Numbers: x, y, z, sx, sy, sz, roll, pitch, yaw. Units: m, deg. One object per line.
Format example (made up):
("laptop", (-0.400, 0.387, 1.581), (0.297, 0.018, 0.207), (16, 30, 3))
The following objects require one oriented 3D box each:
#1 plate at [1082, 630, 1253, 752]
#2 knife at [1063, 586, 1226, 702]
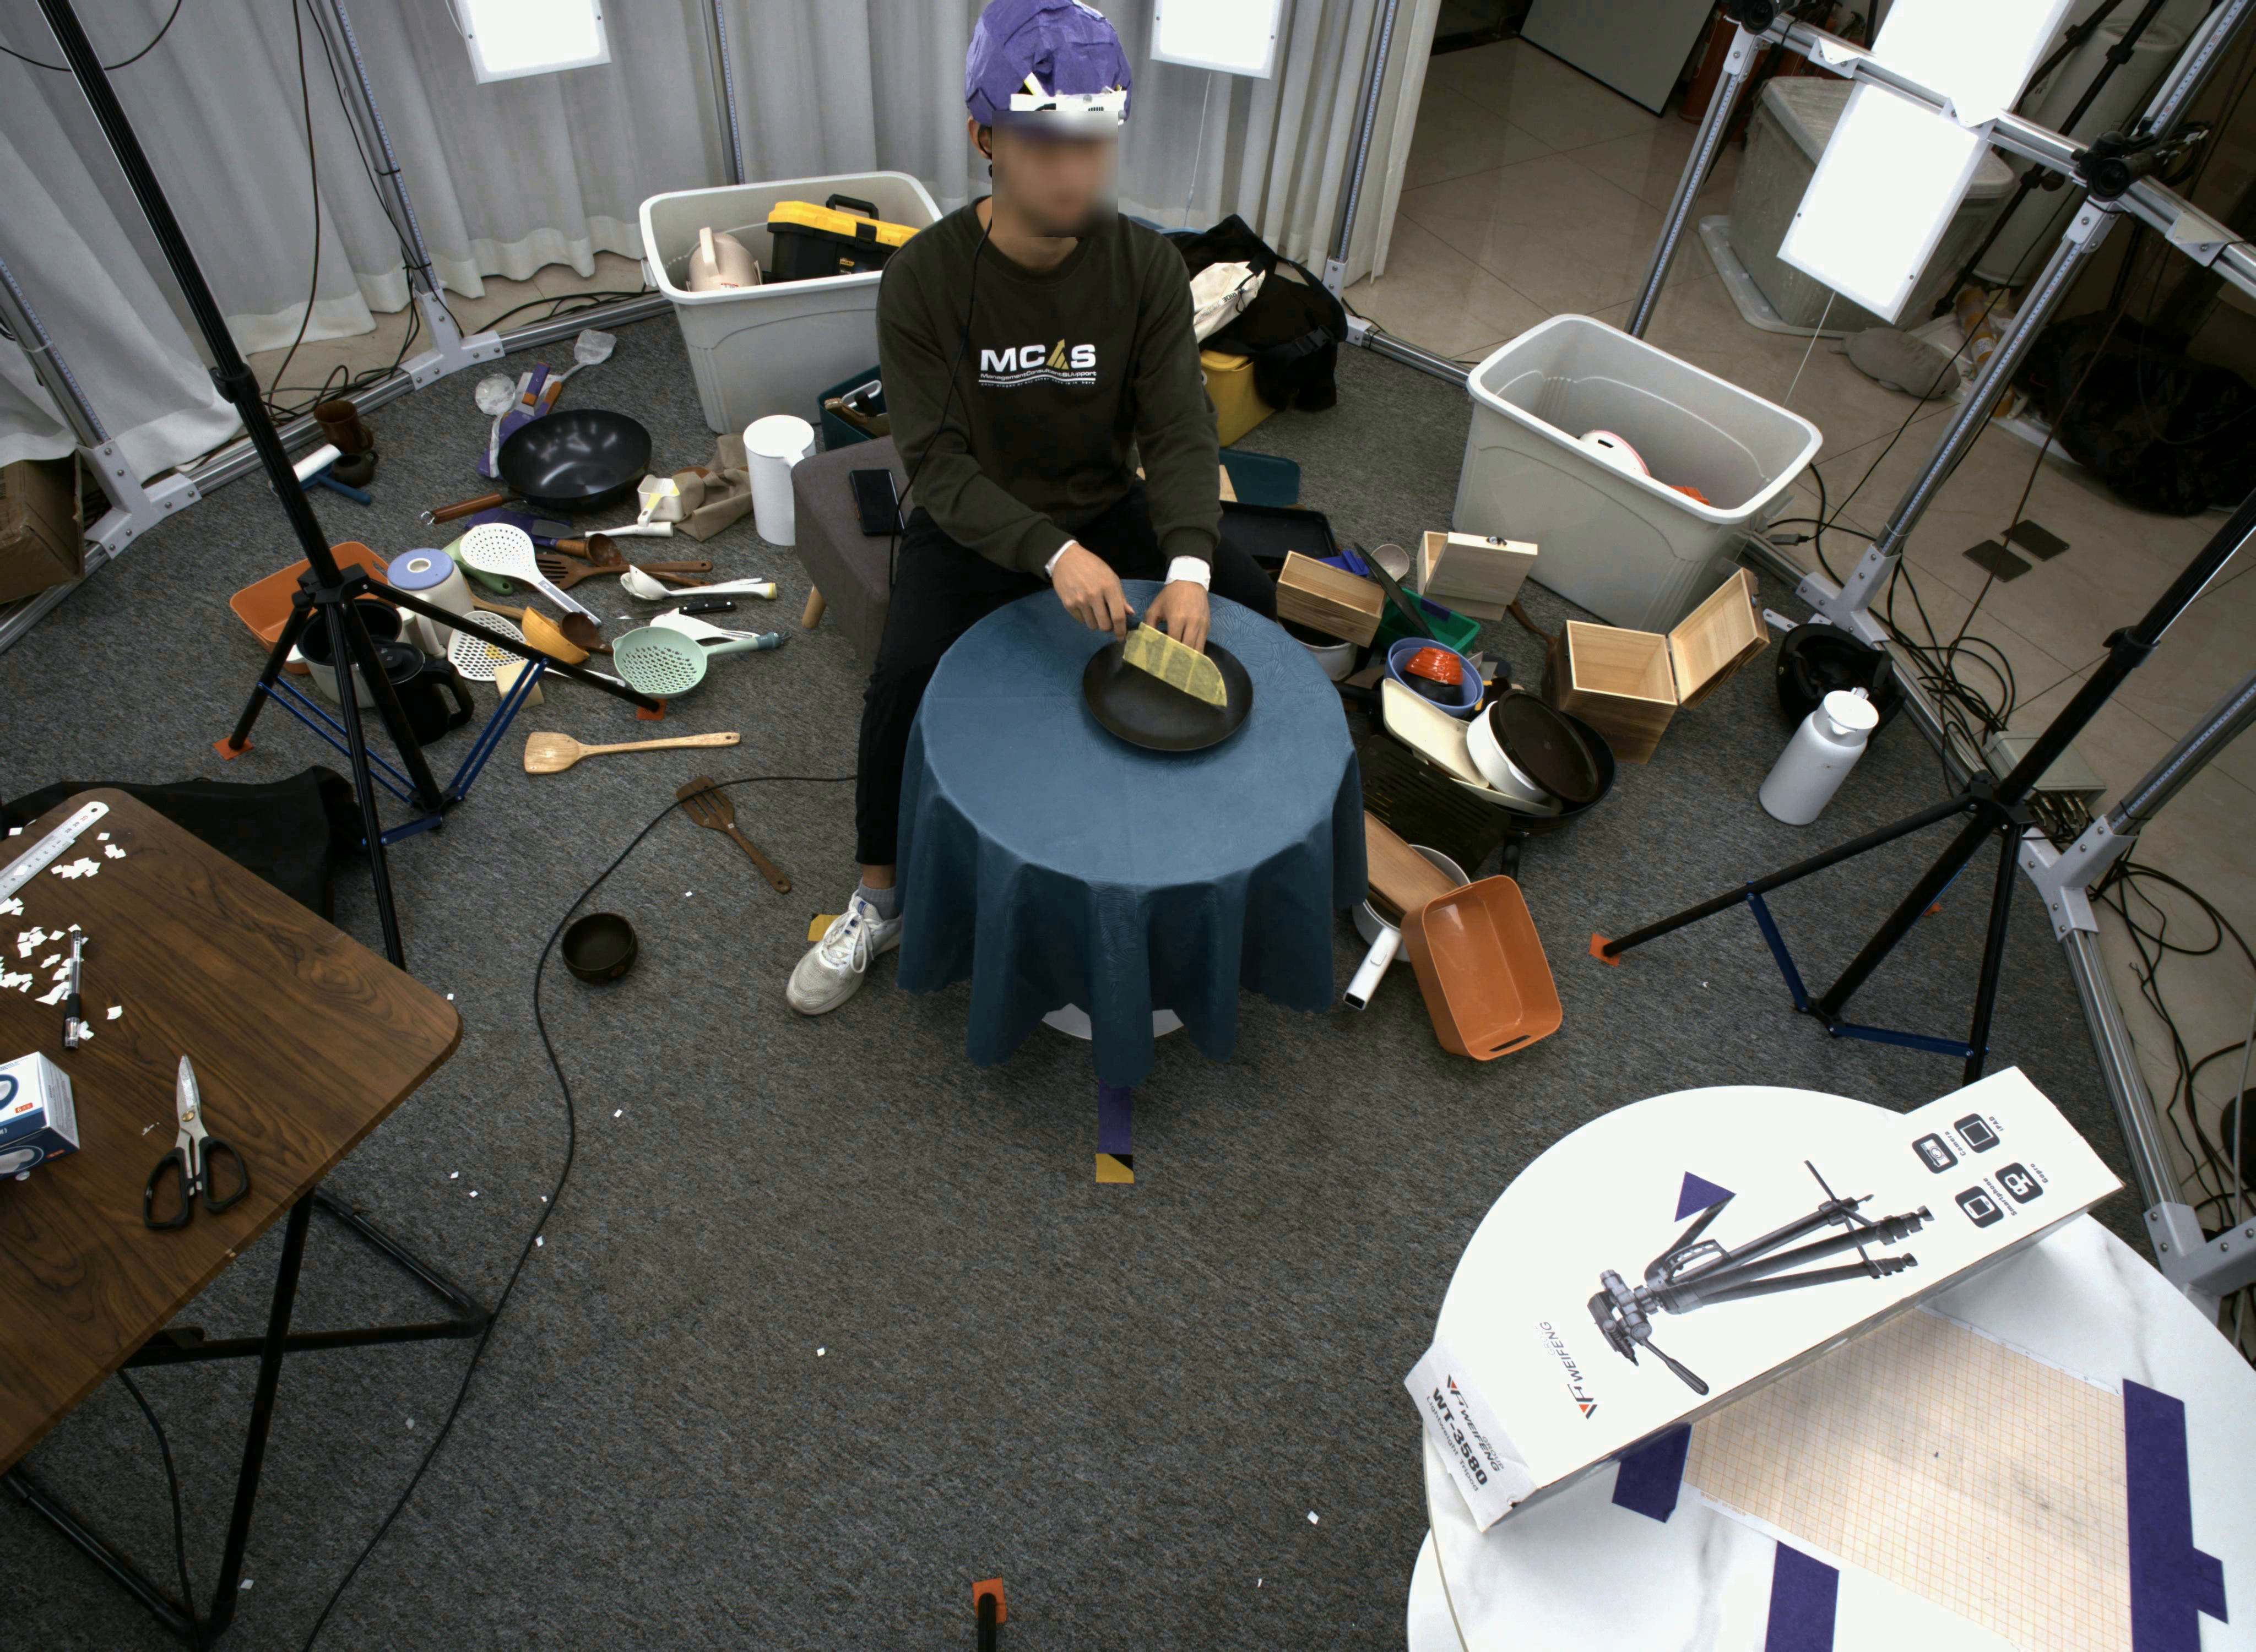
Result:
("plate", (0.056, -0.189, 1.820), (0.244, 0.023, 0.250), (2, 49, -3))
("knife", (0.022, -0.259, 1.831), (0.292, 0.079, 0.027), (34, 42, 18))
